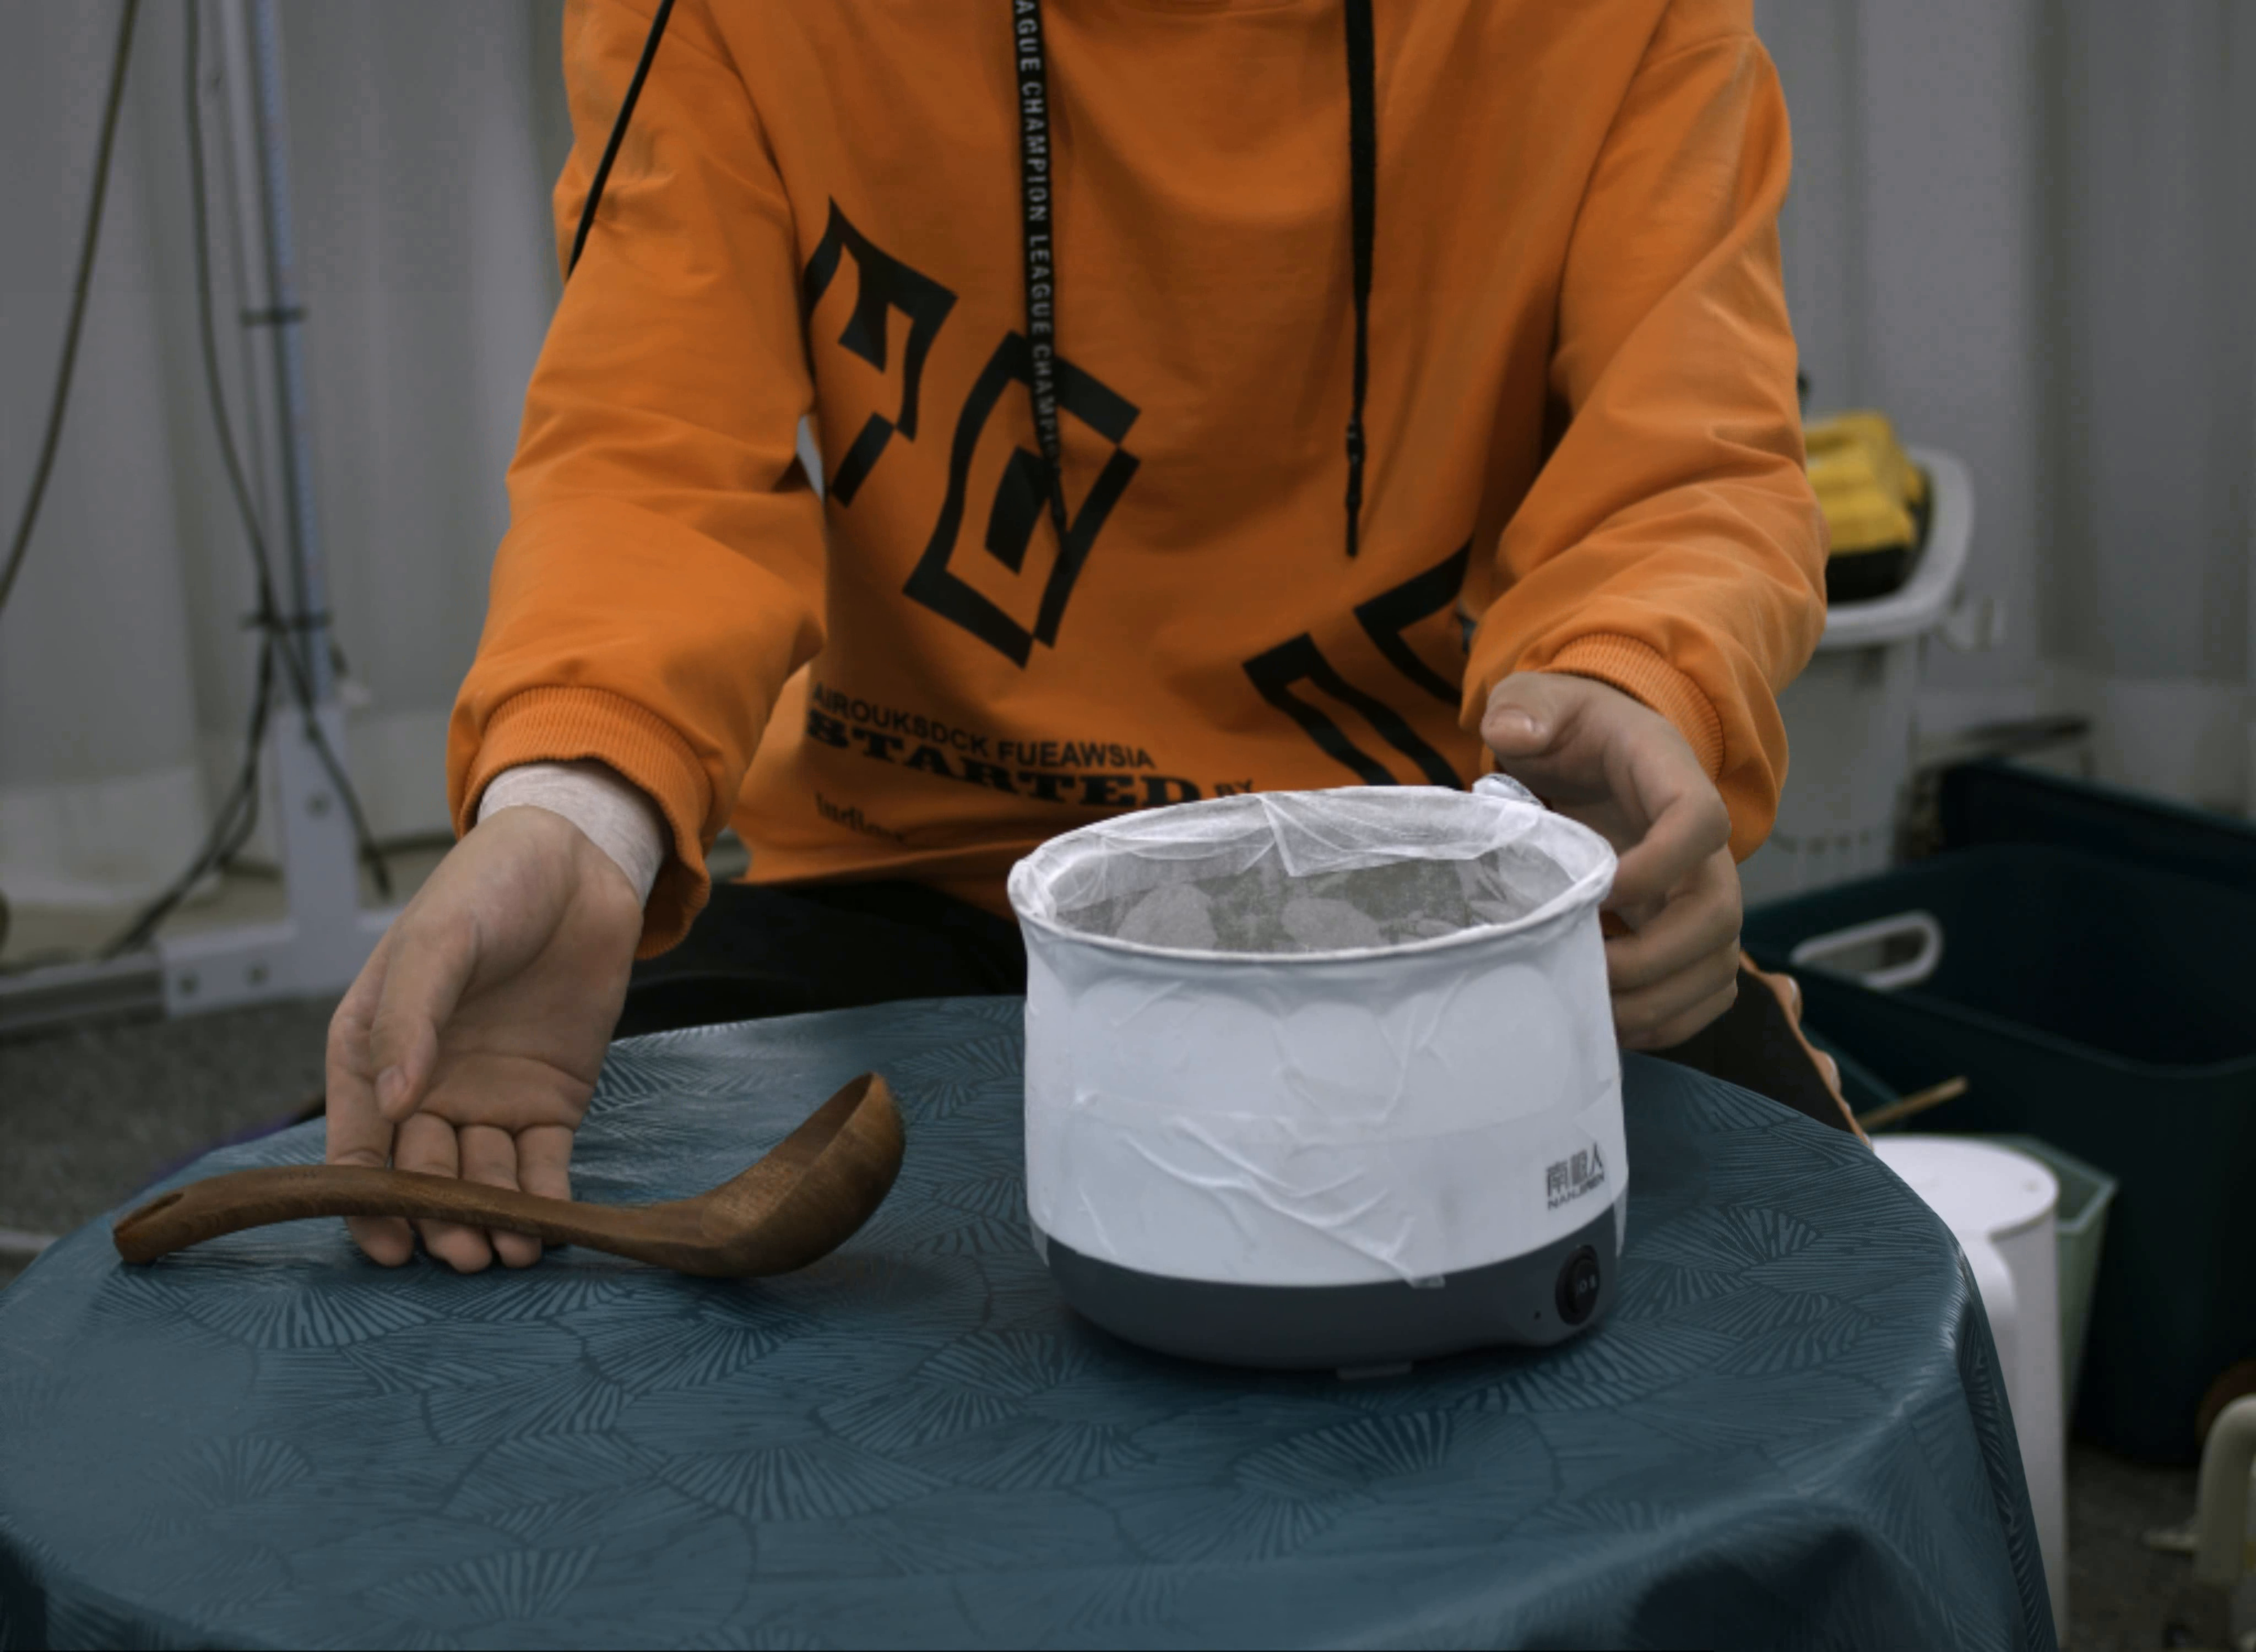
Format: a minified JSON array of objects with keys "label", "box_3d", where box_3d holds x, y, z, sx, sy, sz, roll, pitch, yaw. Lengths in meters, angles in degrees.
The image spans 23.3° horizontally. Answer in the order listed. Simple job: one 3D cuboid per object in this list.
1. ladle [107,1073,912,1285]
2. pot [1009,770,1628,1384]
[{"label":"ladle","box_3d":[-0.191,0.105,1.666,0.260,0.065,0.077,1,16,14]},{"label":"pot","box_3d":[0.072,0.067,1.616,0.179,0.136,0.234,8,19,34]}]
